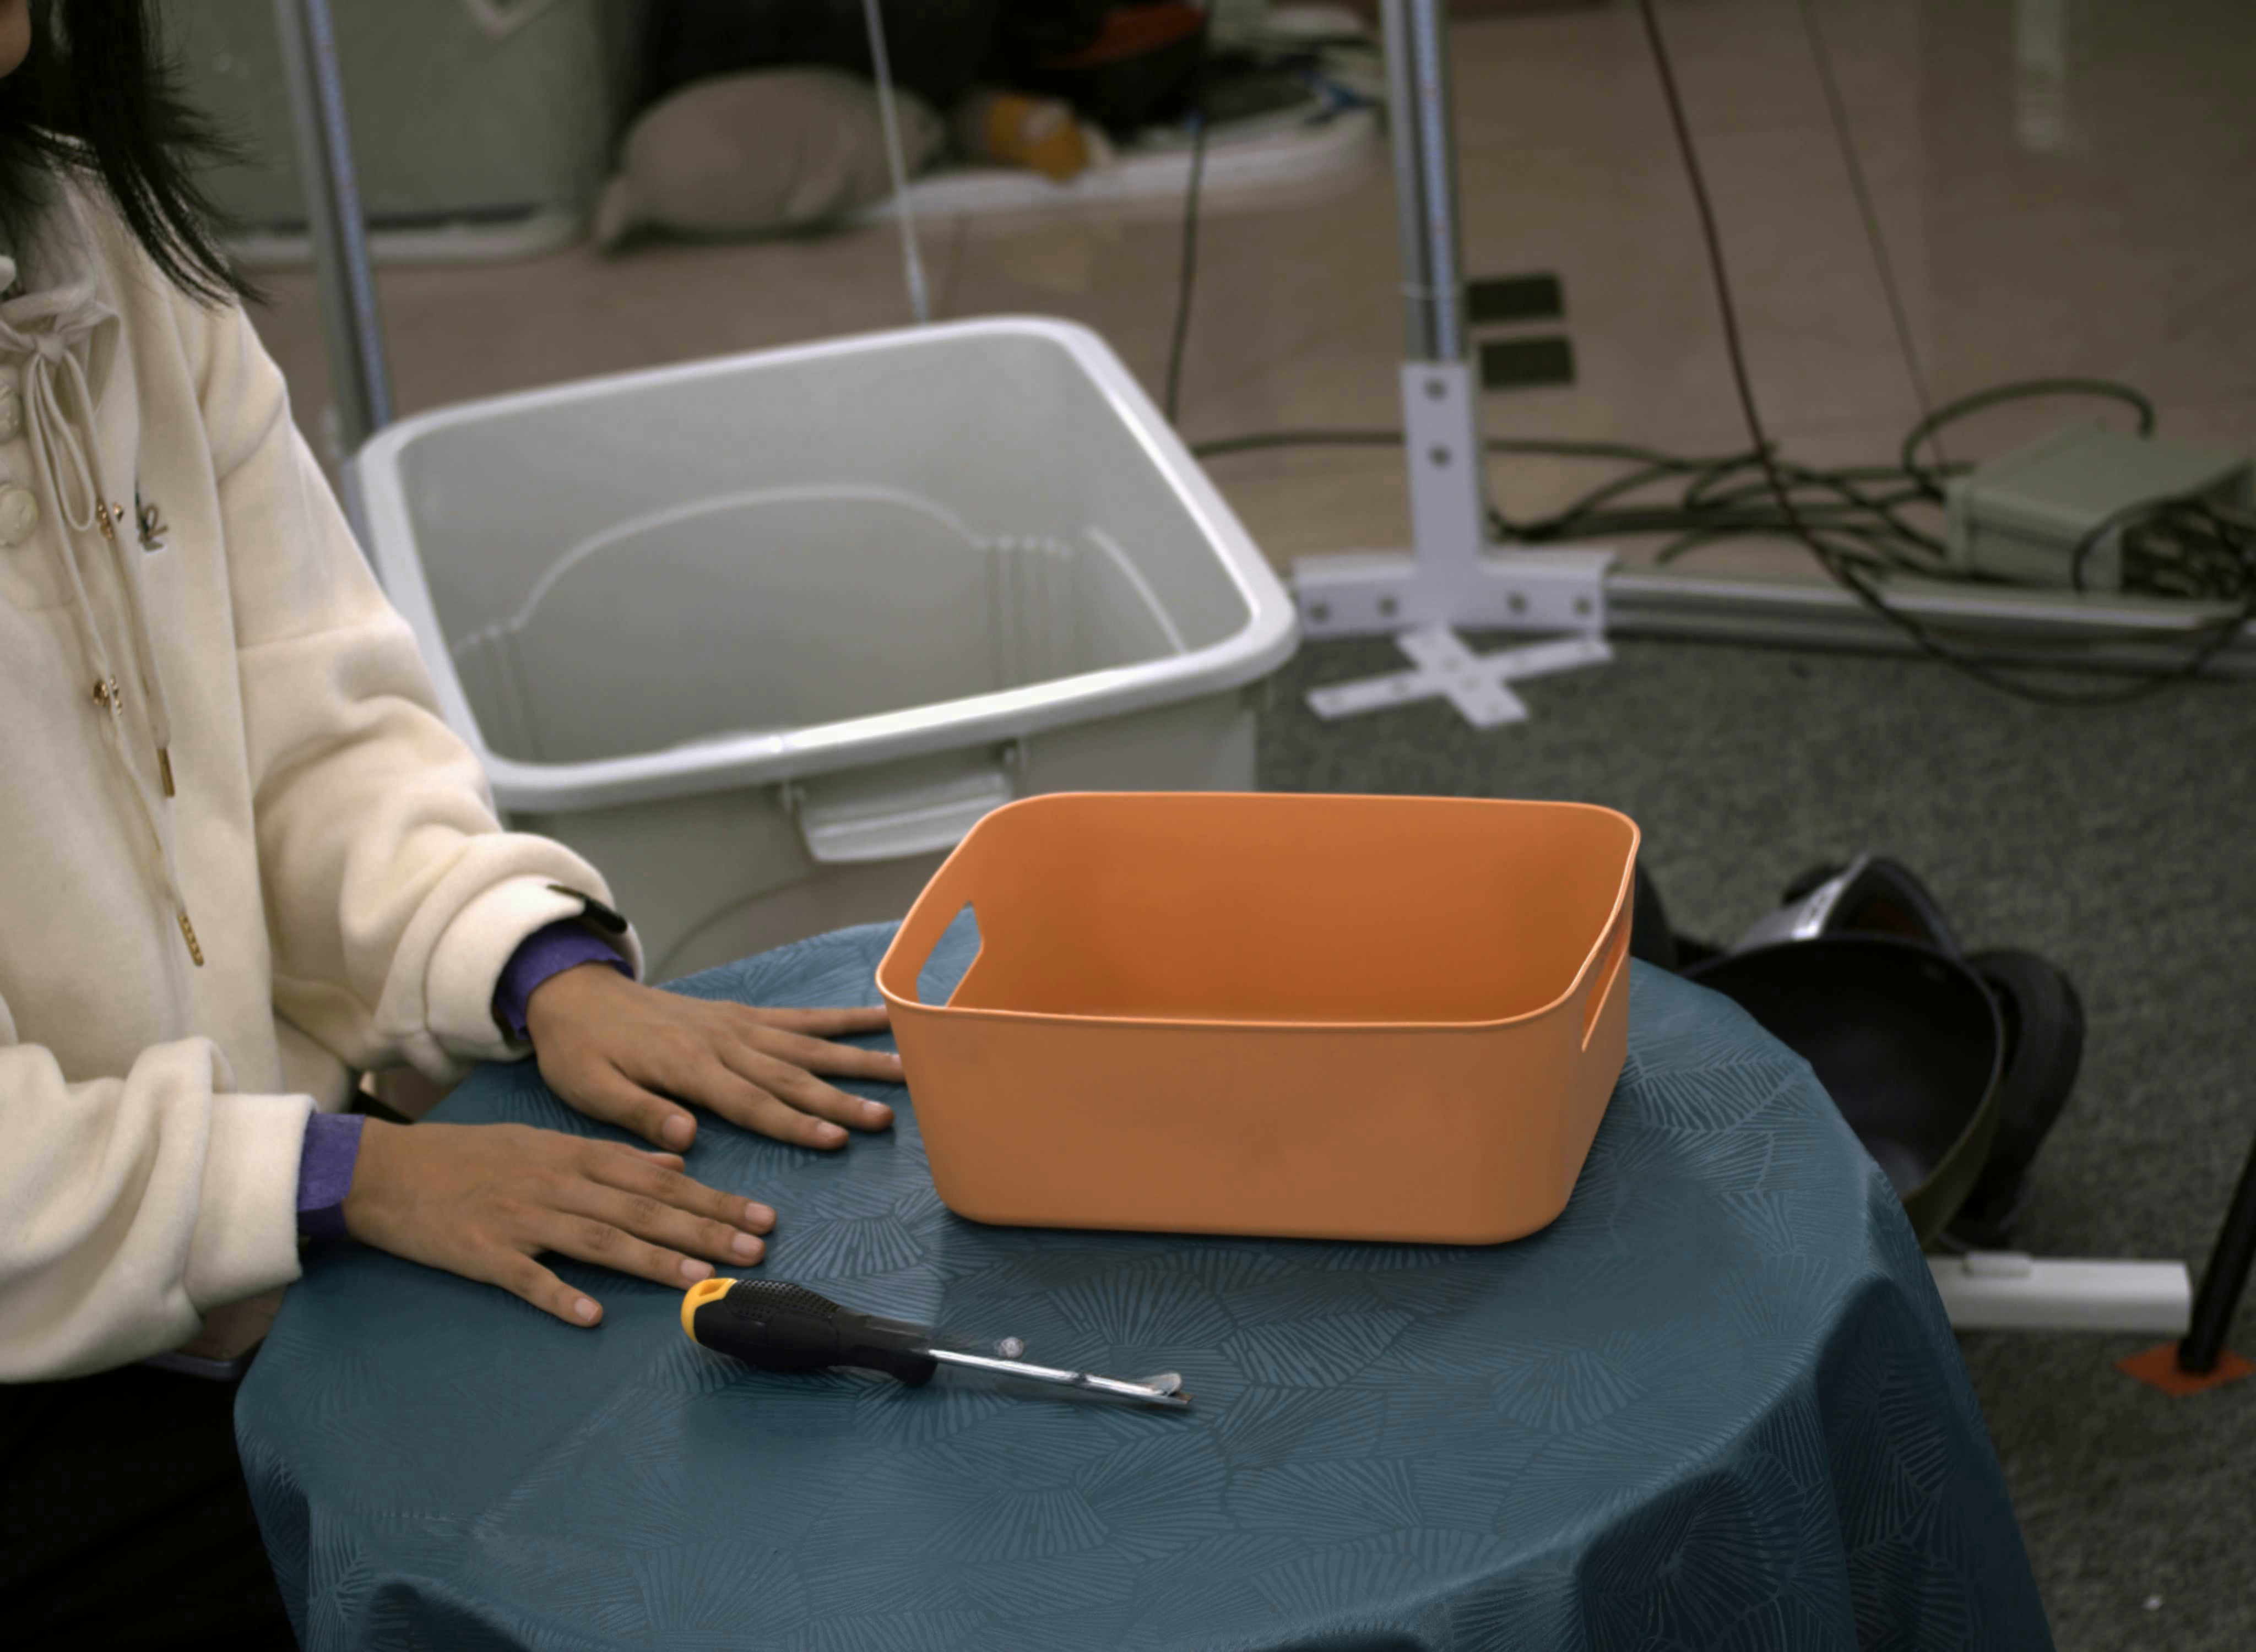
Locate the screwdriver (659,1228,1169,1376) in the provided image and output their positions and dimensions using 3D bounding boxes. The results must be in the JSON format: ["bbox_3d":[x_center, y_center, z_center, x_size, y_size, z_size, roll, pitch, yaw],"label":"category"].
[{"bbox_3d":[-0.076,0.174,2.037,0.197,0.032,0.031,11,29,16],"label":"screwdriver"}]

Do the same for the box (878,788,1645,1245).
[{"bbox_3d":[0.057,0.072,2.153,0.272,0.104,0.196,2,27,16],"label":"box"}]
